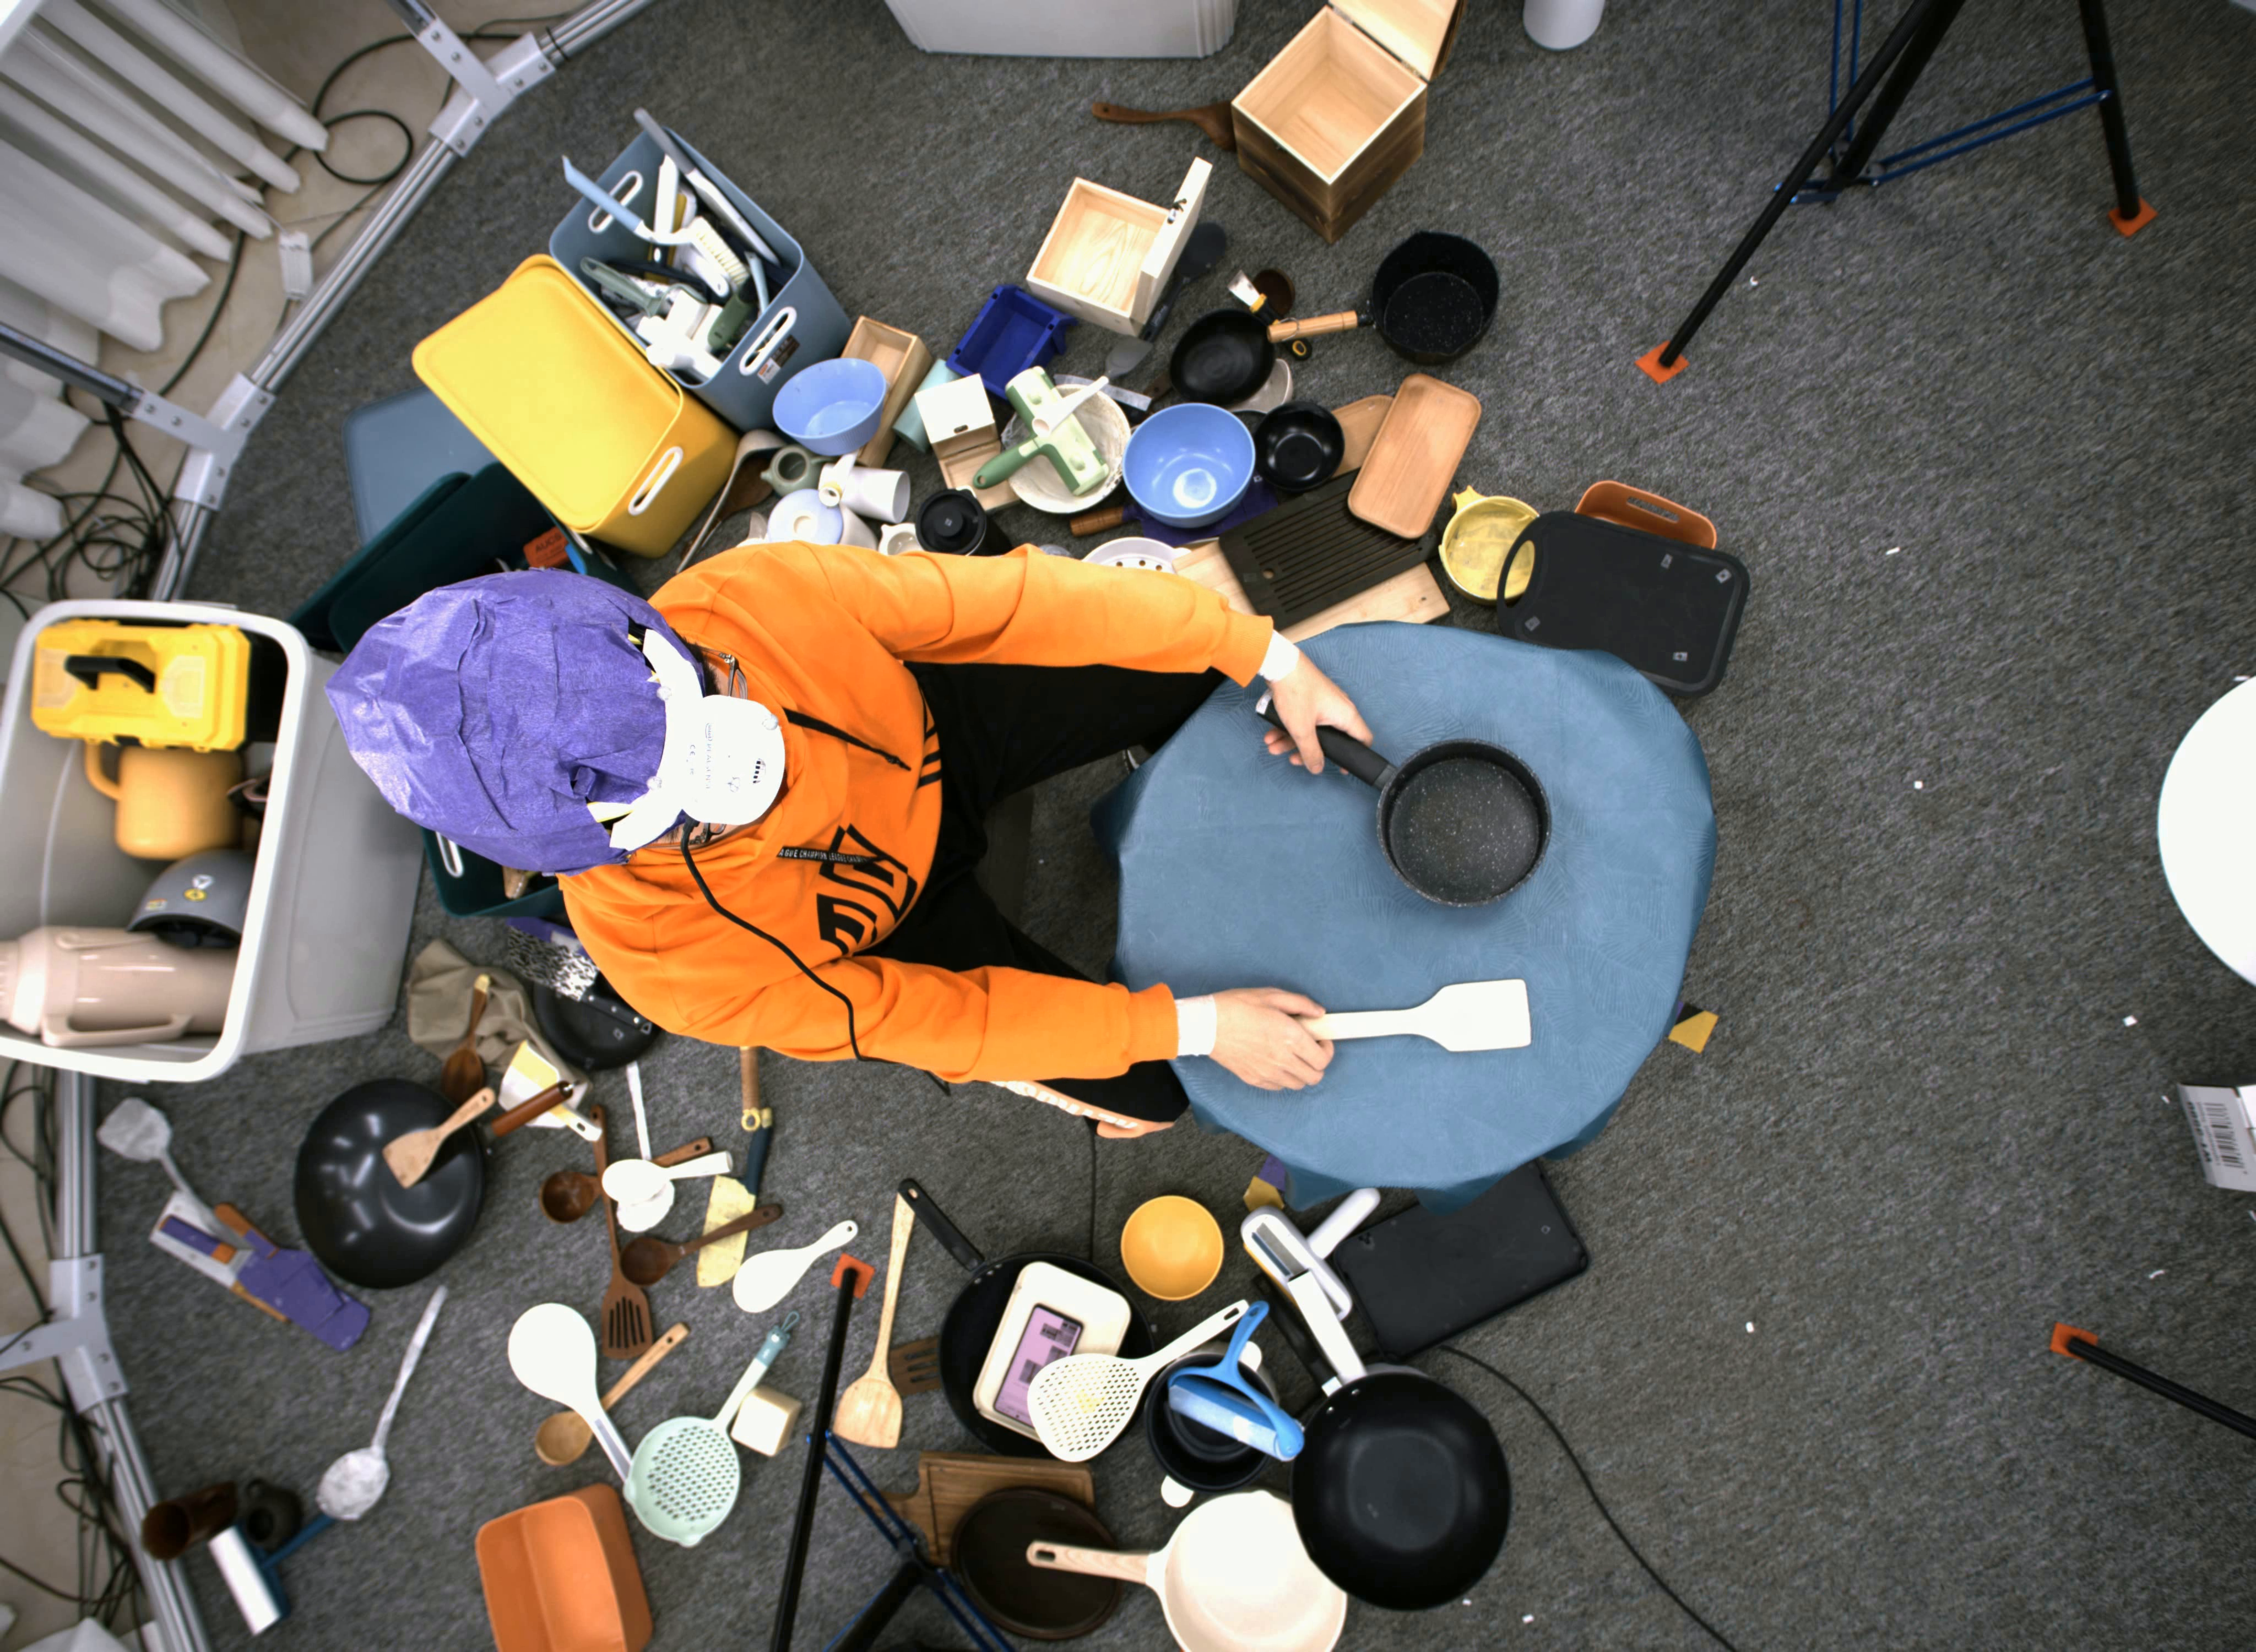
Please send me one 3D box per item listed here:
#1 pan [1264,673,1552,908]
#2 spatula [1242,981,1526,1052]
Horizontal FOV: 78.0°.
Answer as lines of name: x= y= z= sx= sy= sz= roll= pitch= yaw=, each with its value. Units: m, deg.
pan: x=0.280 y=-0.047 z=1.423 sx=0.327 sy=0.086 sz=0.172 roll=37 pitch=93 yaw=13
spatula: x=0.266 y=0.204 z=1.444 sx=0.294 sy=0.010 sz=0.072 roll=-4 pitch=89 yaw=7
